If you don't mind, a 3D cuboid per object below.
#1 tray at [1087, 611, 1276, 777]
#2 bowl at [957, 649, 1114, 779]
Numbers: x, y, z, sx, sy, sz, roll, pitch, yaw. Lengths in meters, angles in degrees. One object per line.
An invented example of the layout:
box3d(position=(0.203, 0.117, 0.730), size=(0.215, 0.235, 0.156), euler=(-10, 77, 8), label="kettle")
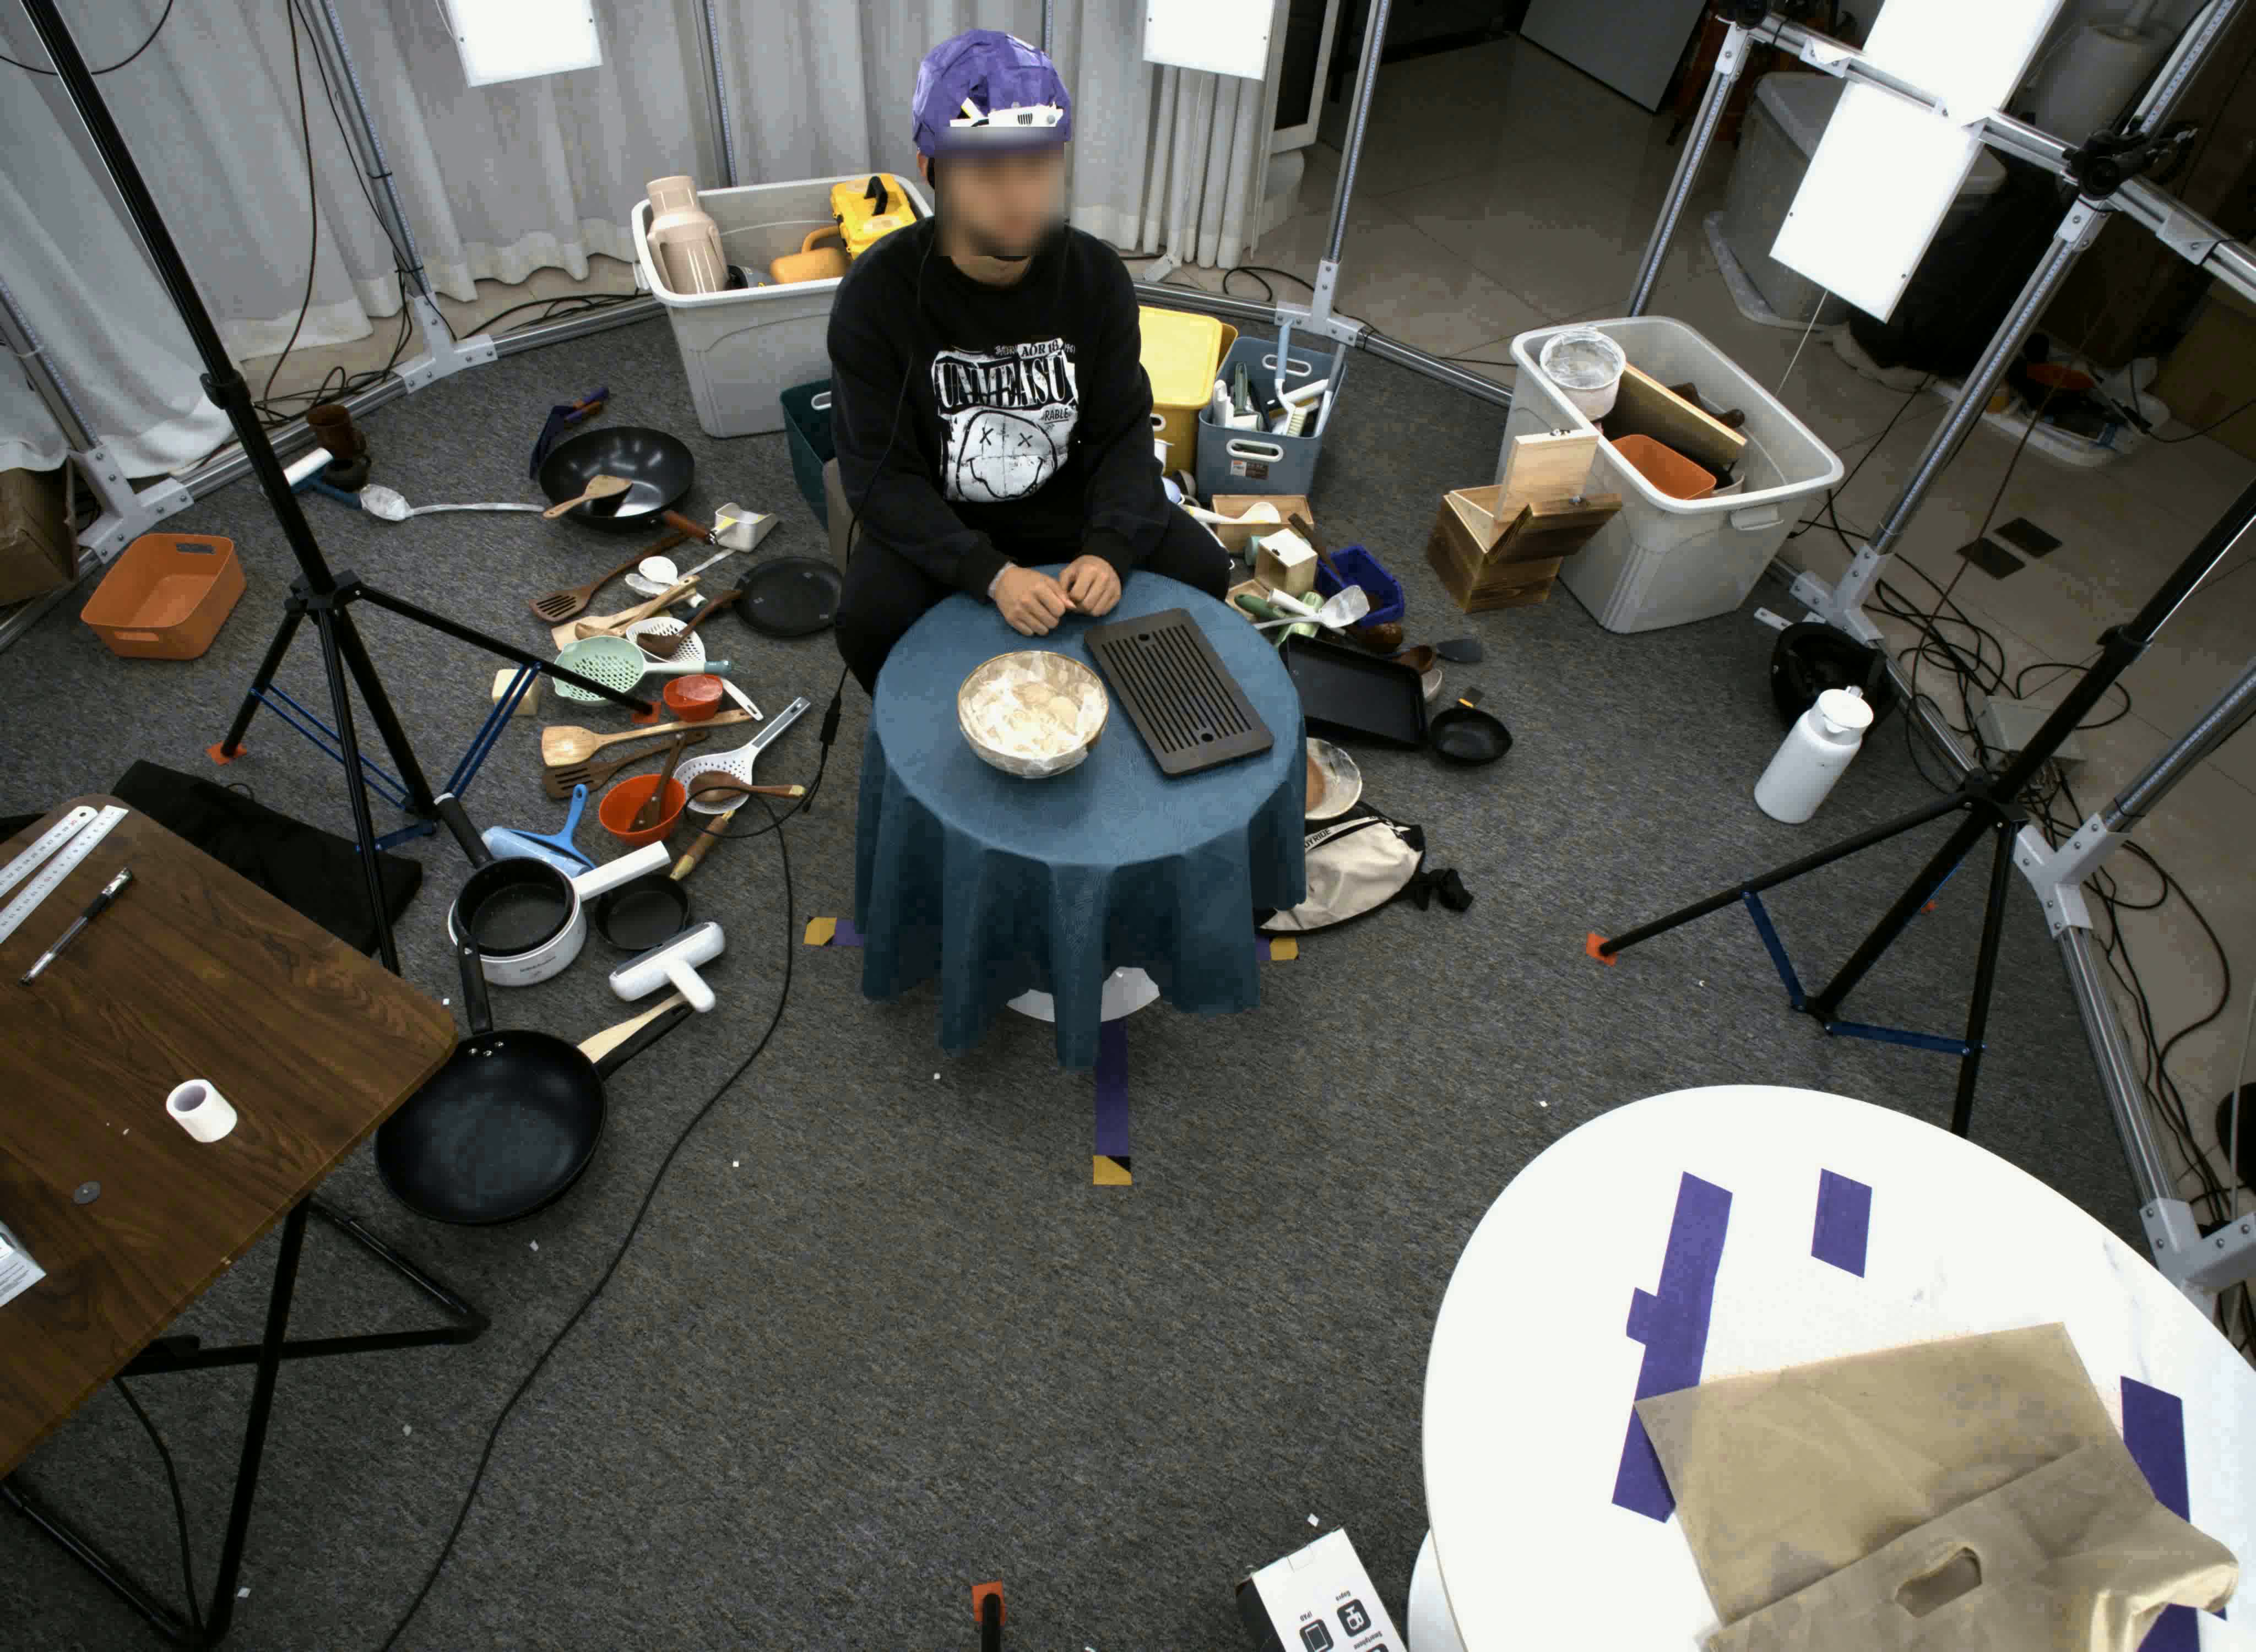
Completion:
box3d(position=(0.072, -0.195, 1.847), size=(0.170, 0.018, 0.313), euler=(-16, 51, -17), label="tray")
box3d(position=(-0.123, -0.137, 1.735), size=(0.214, 0.092, 0.220), euler=(1, 49, -1), label="bowl")
